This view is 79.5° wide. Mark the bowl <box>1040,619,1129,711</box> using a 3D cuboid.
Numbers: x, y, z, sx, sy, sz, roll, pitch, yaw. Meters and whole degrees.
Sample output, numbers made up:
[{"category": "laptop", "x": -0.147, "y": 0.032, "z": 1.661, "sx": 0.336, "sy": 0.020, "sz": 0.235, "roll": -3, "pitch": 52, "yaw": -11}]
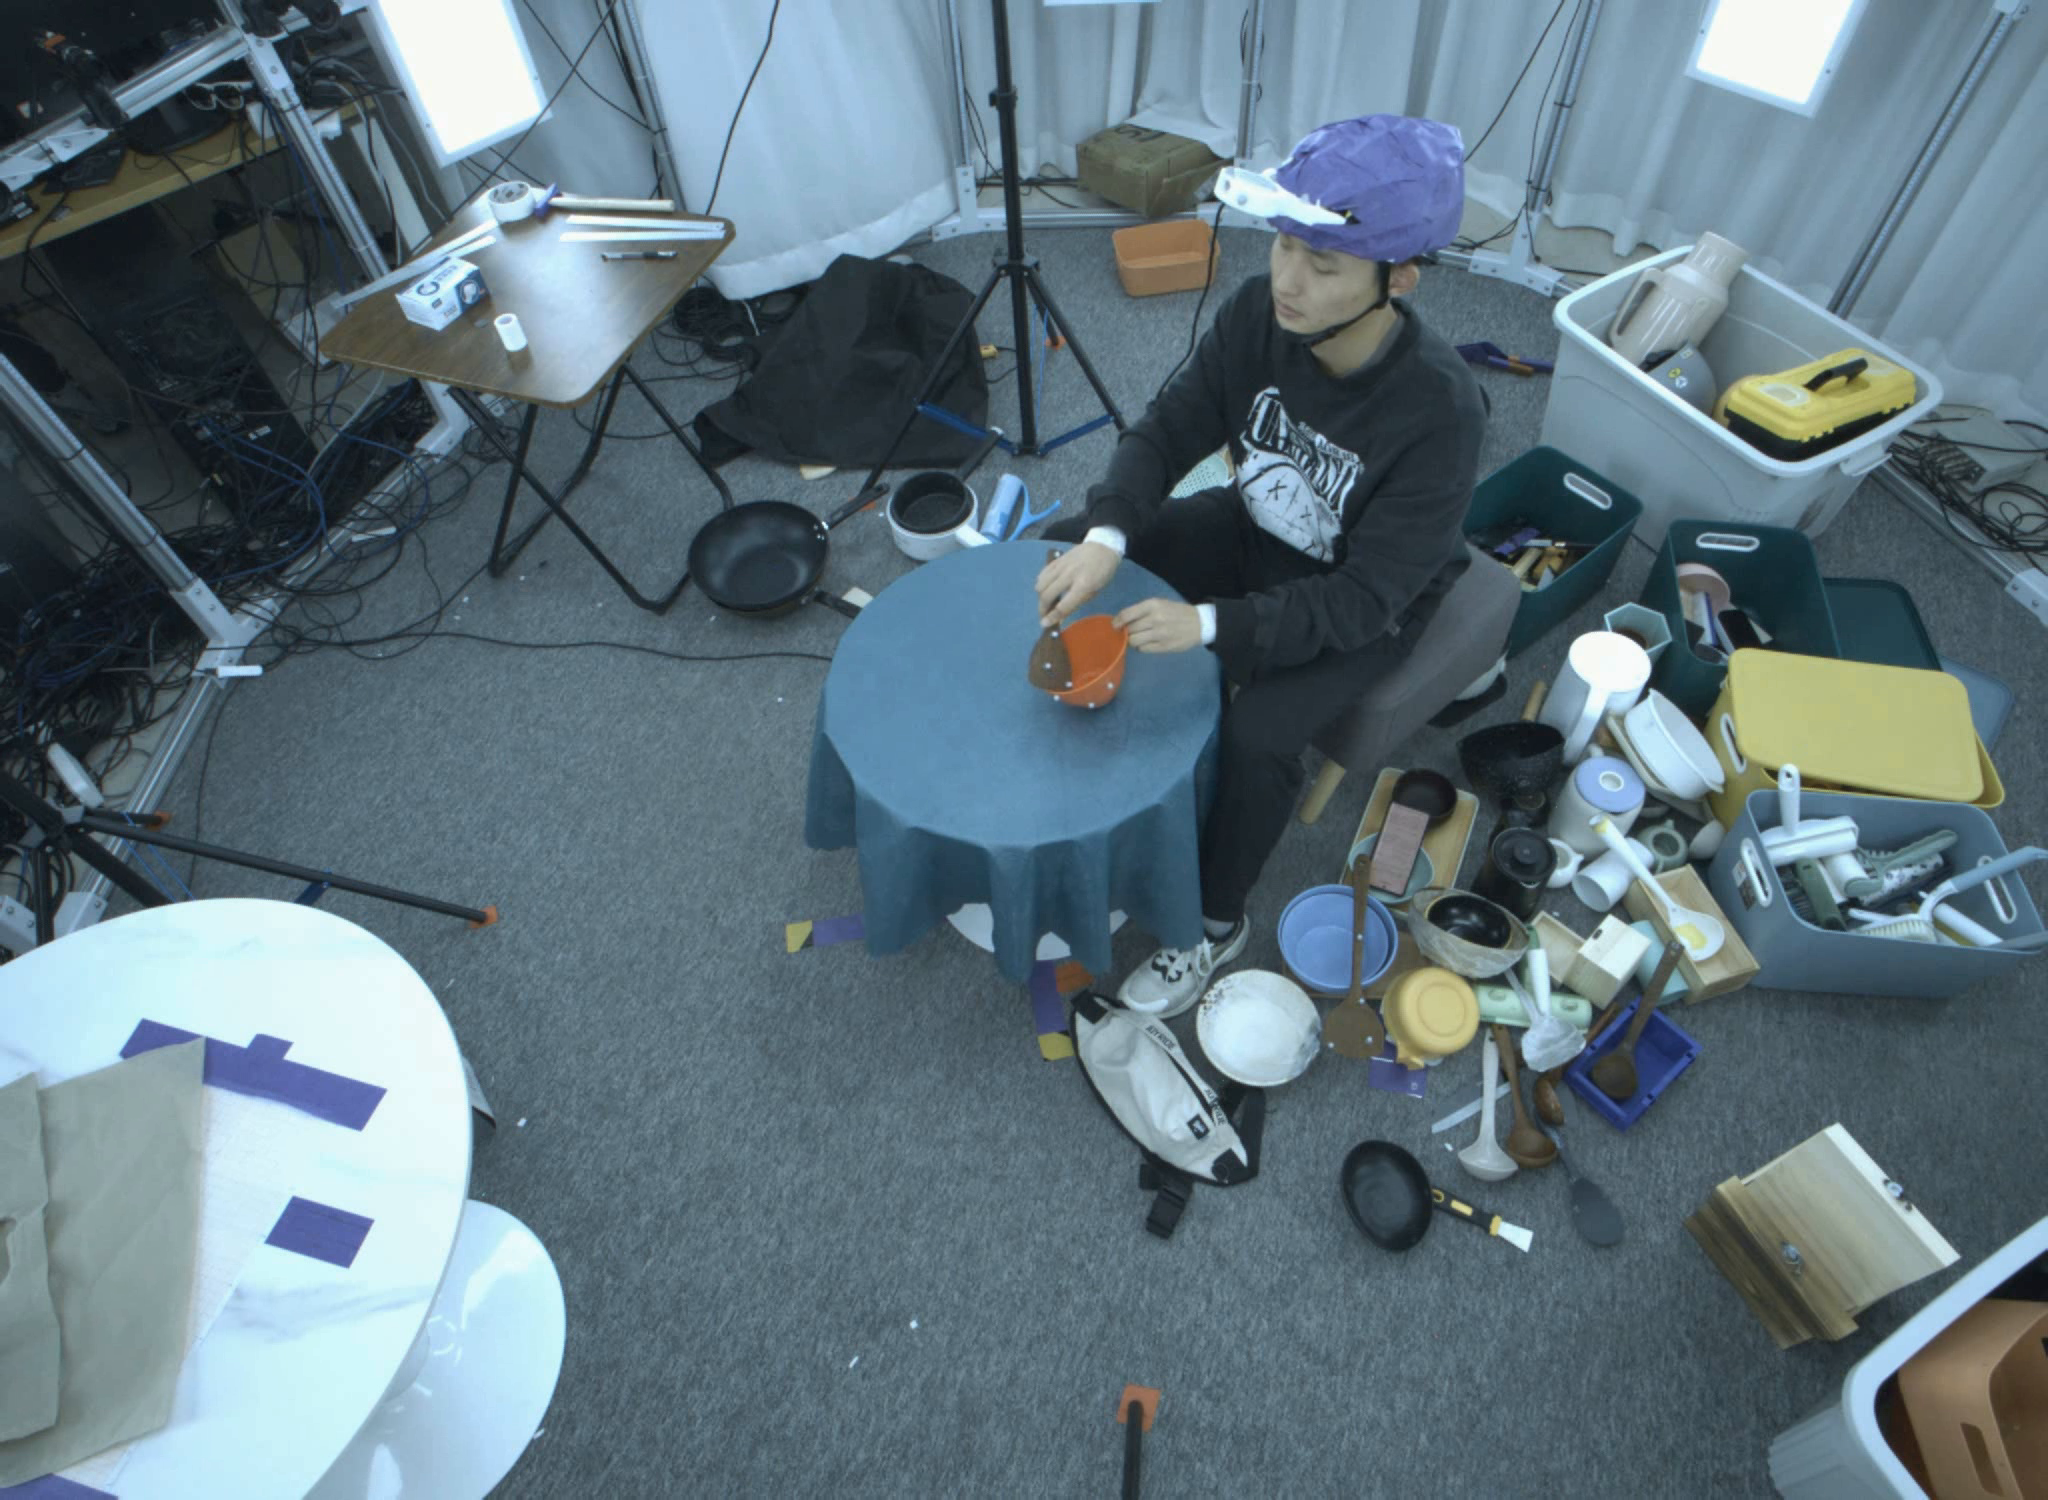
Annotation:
[{"category": "bowl", "x": 0.099, "y": -0.110, "z": 1.797, "sx": 0.146, "sy": 0.107, "sz": 0.146, "roll": -13, "pitch": 52, "yaw": 18}]

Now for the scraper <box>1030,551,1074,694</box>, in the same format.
[{"category": "scraper", "x": 0.043, "y": -0.184, "z": 1.767, "sx": 0.077, "sy": 0.010, "sz": 0.210, "roll": 8, "pitch": 81, "yaw": -34}]
